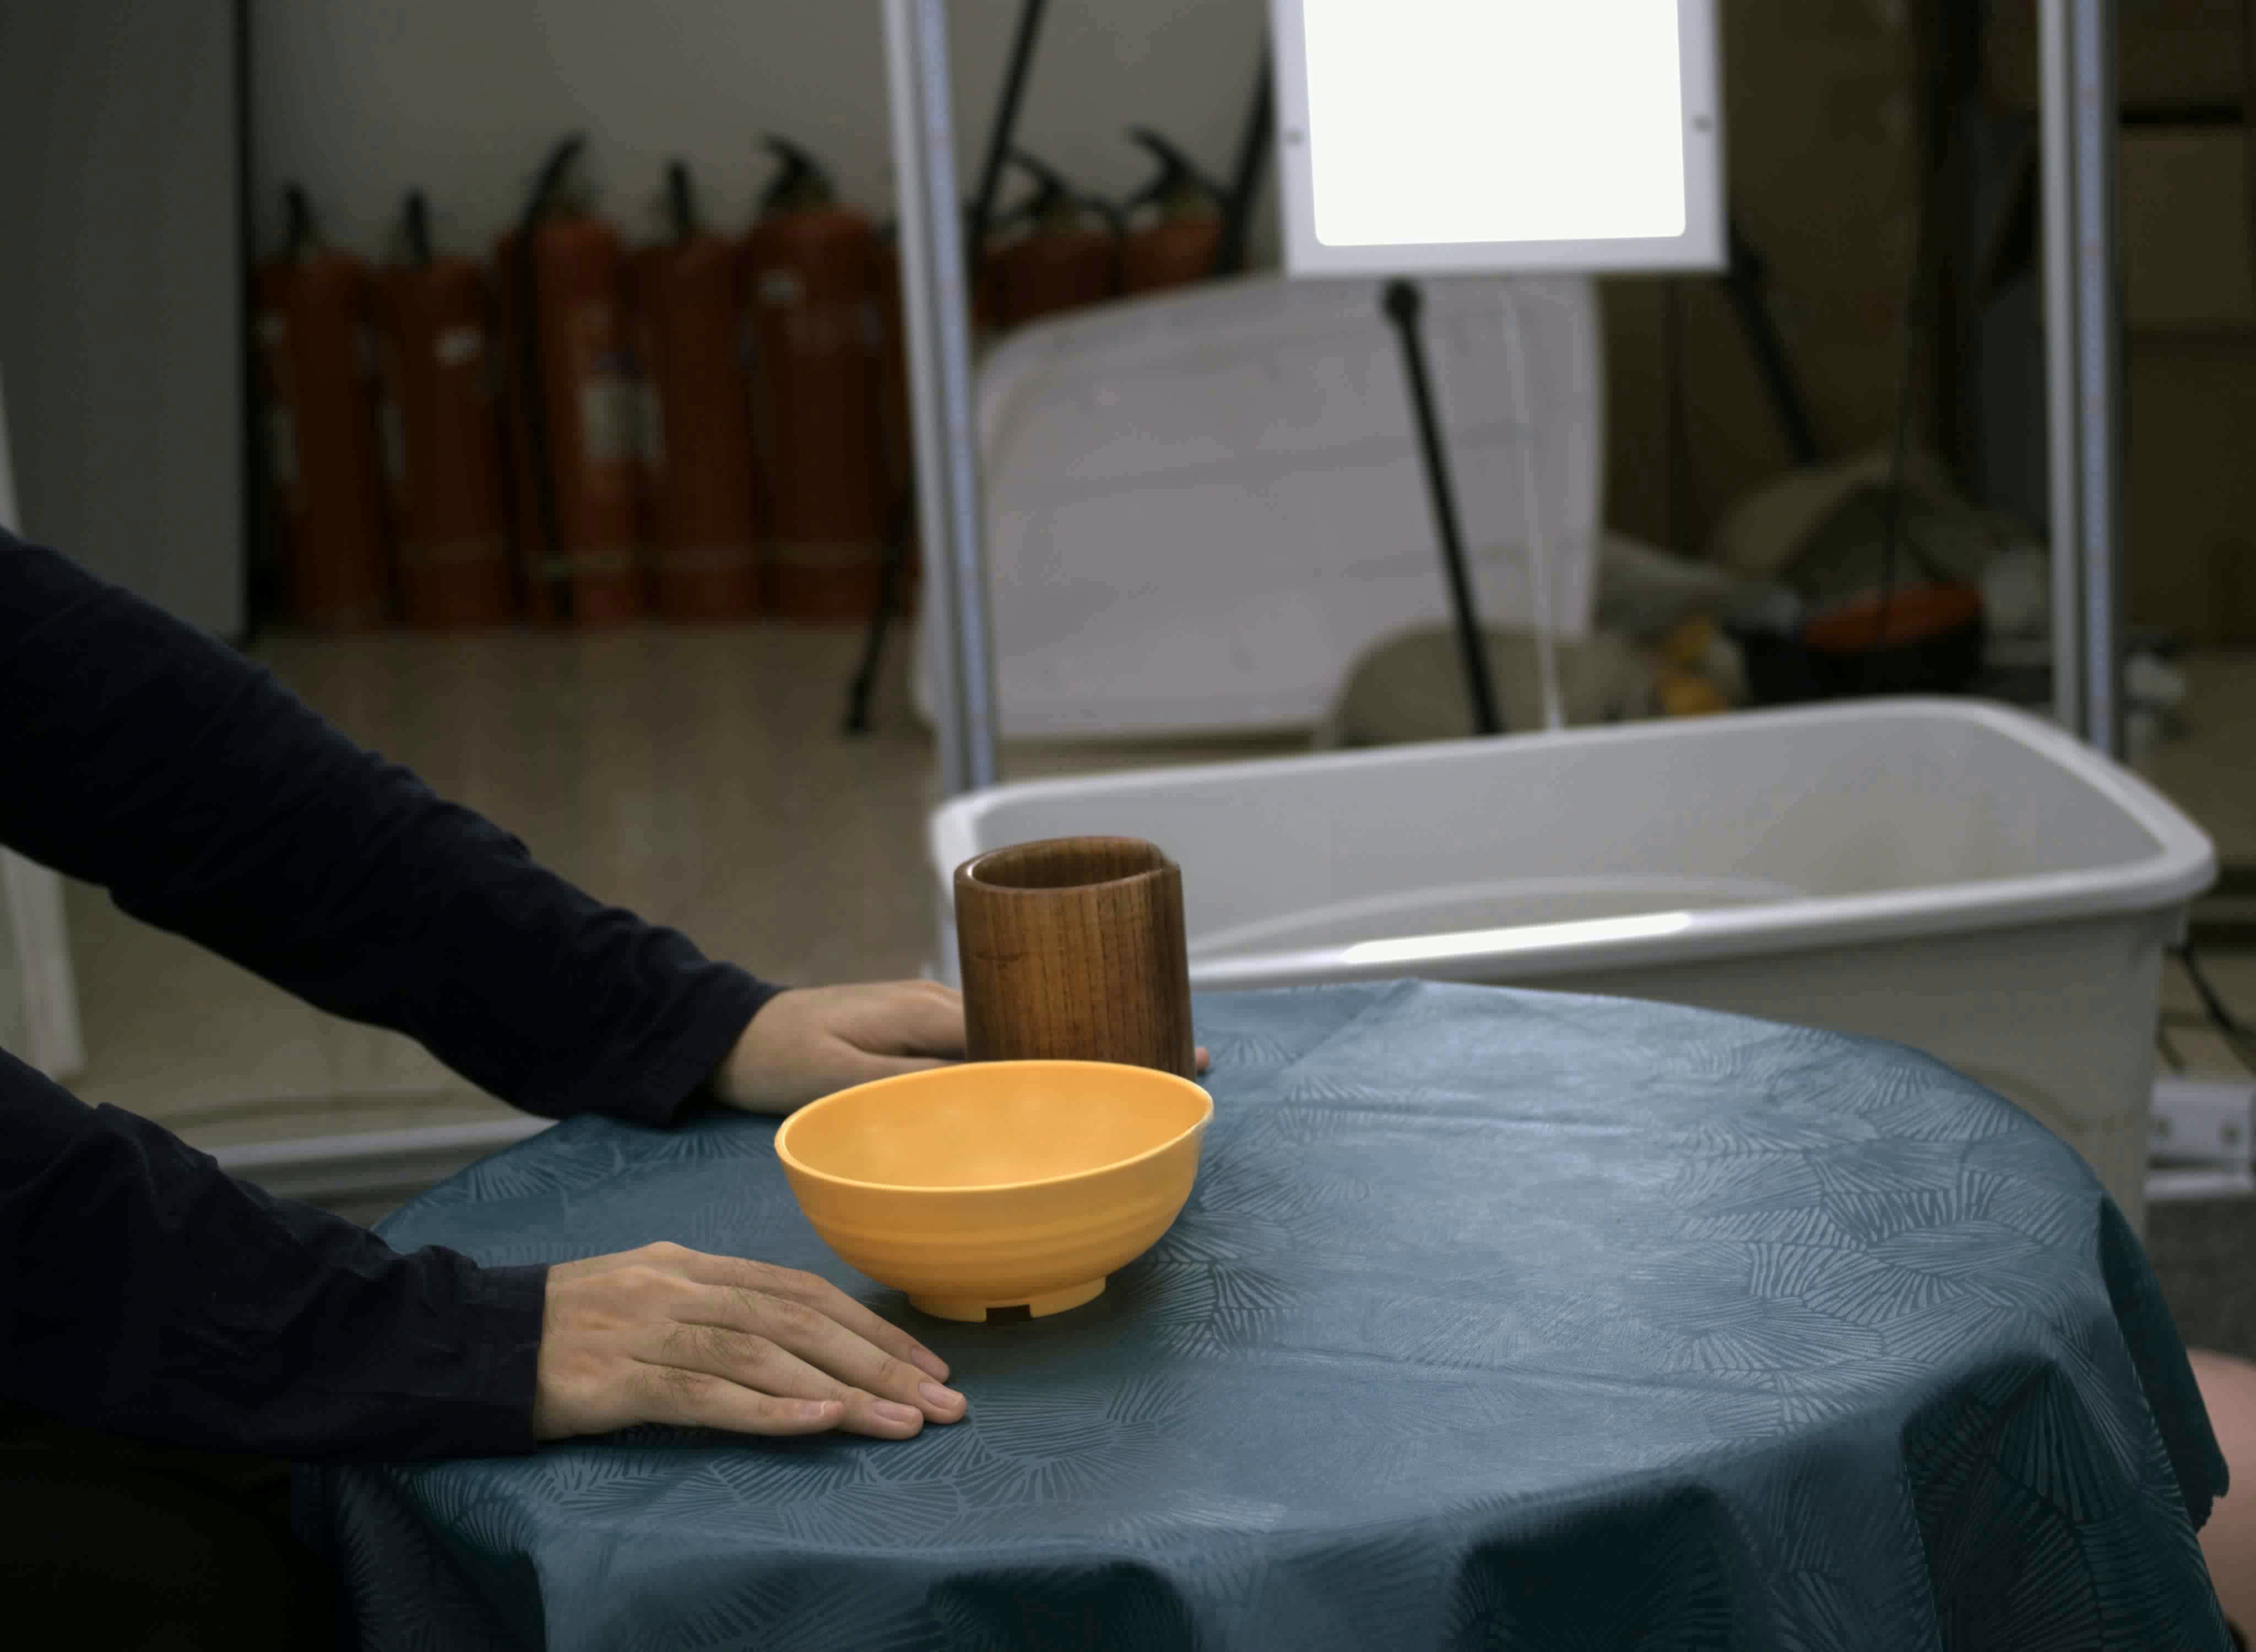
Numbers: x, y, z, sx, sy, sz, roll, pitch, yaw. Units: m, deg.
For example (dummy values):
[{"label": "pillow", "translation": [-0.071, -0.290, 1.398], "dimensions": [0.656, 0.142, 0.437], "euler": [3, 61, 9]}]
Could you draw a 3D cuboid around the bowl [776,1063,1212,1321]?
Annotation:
[{"label": "bowl", "translation": [-0.041, 0.123, 1.799], "dimensions": [0.145, 0.060, 0.145], "euler": [-5, 13, 0]}]

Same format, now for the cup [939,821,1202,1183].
[{"label": "cup", "translation": [-0.018, 0.064, 1.916], "dimensions": [0.087, 0.119, 0.087], "euler": [-5, 12, 0]}]
